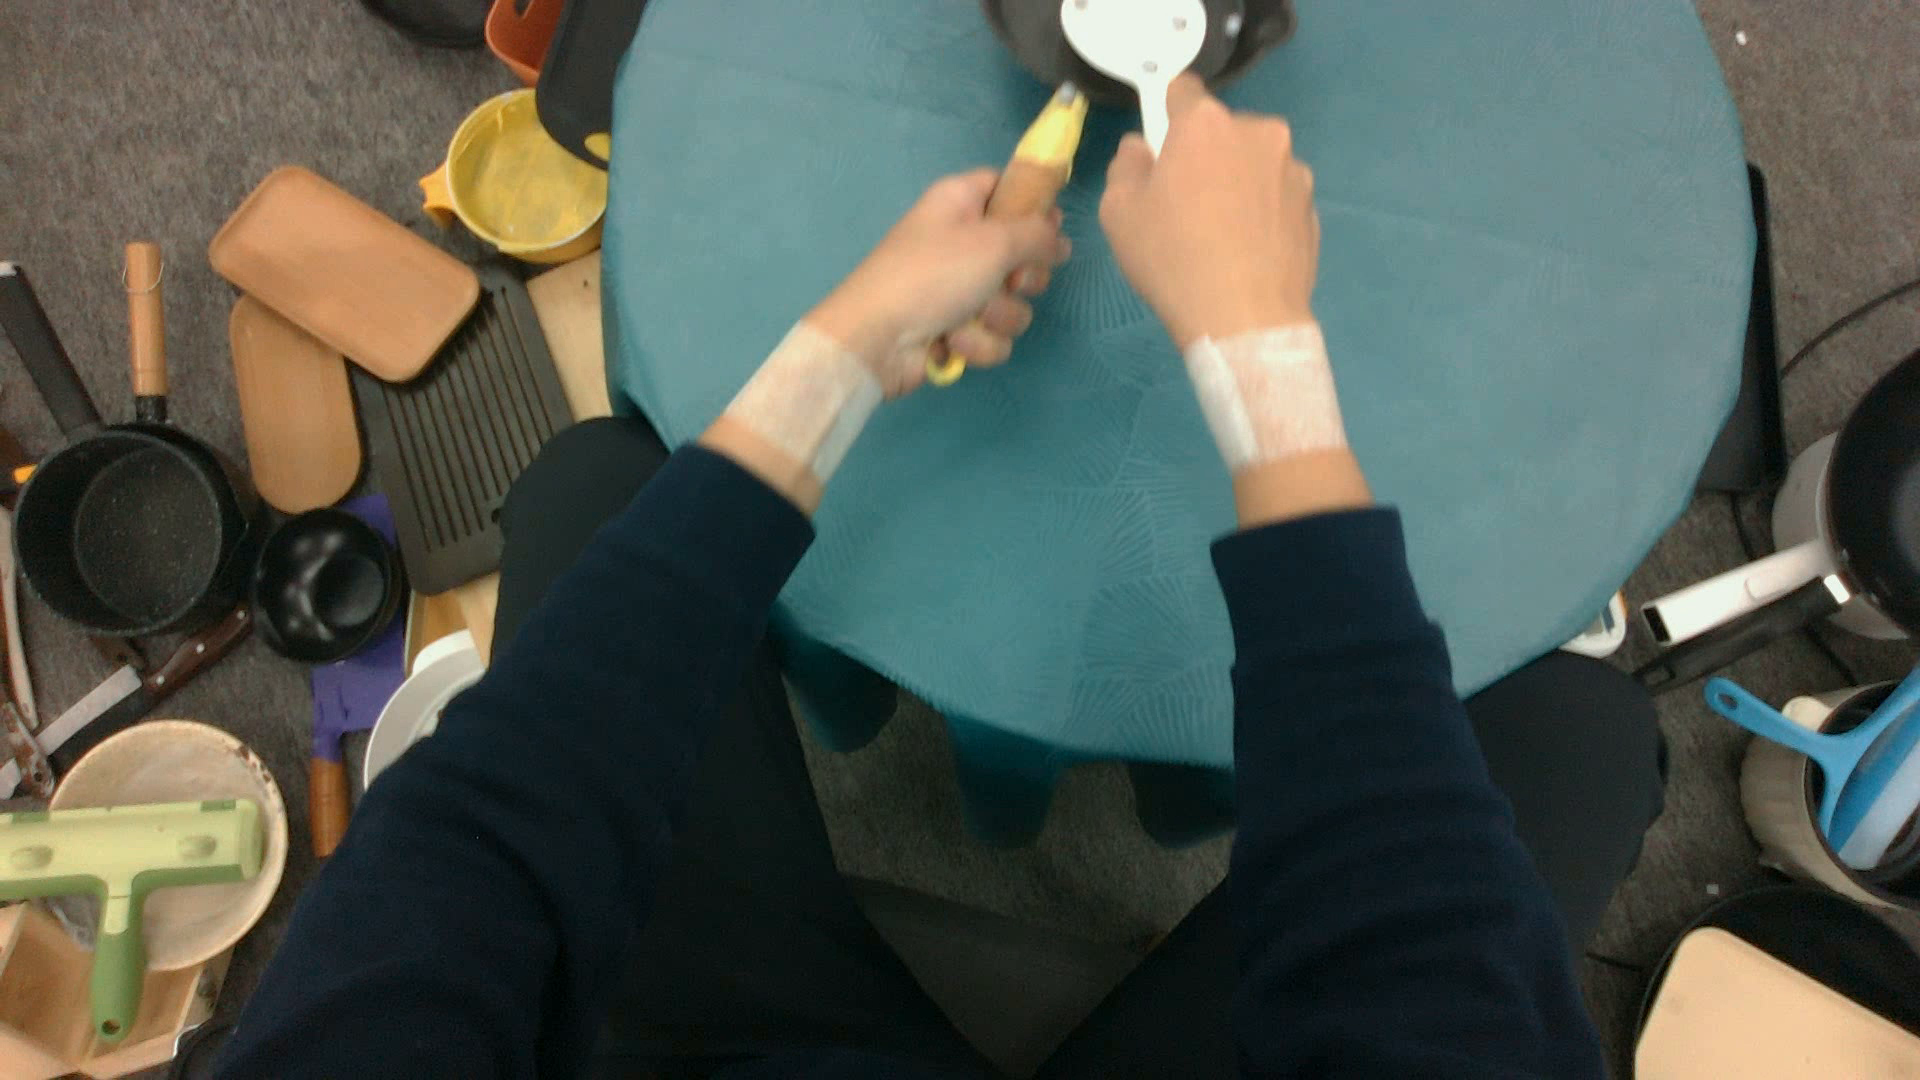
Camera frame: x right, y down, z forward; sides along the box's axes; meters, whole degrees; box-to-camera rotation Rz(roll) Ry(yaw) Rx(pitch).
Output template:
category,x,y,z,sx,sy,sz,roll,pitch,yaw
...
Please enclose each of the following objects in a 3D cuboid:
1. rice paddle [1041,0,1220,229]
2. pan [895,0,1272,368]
category,x,y,z,sx,sy,sz,roll,pitch,yaw
rice paddle,0.080,-0.223,0.639,0.069,0.029,0.206,-6,53,-4
pan,0.040,-0.218,0.658,0.169,0.049,0.325,25,73,1
